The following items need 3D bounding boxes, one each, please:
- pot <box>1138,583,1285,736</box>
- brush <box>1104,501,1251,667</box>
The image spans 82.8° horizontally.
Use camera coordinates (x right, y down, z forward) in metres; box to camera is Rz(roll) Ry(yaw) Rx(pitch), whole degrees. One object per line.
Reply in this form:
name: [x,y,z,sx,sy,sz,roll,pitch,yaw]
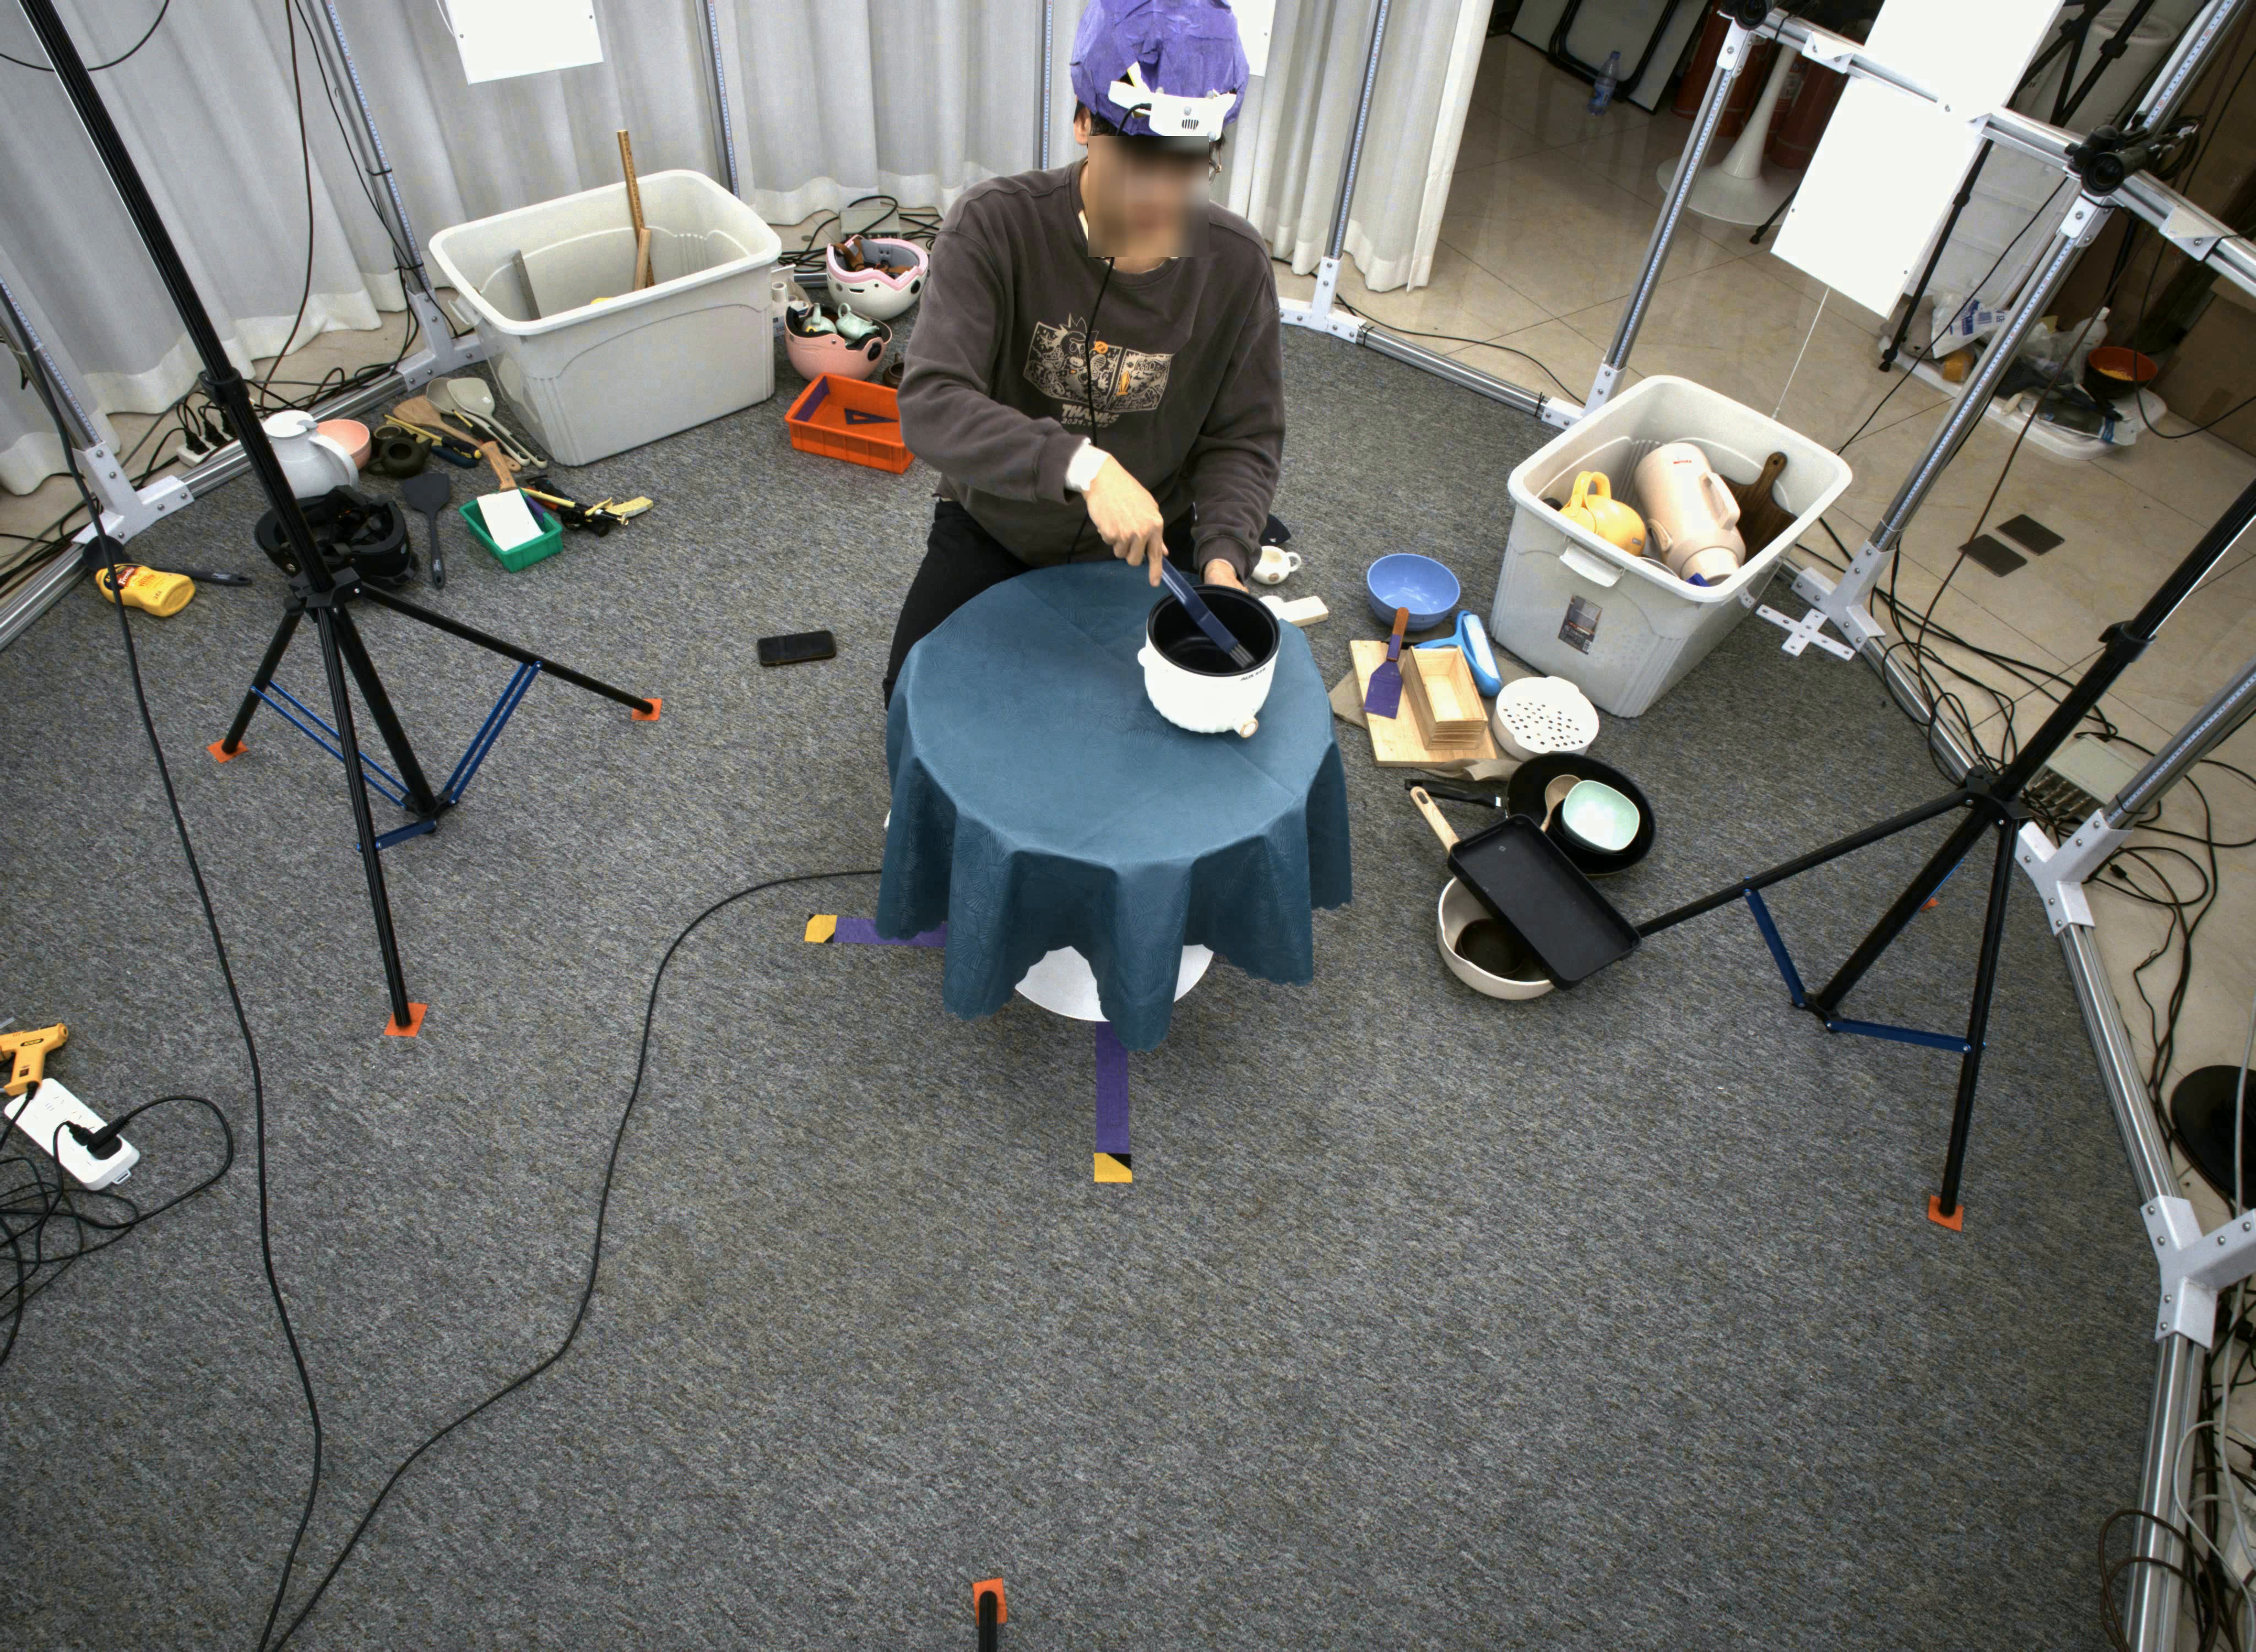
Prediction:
pot: [0.118,-0.222,1.776,0.241,0.139,0.194,-27,52,-22]
brush: [0.070,-0.317,1.713,0.033,0.268,0.098,-42,33,5]
